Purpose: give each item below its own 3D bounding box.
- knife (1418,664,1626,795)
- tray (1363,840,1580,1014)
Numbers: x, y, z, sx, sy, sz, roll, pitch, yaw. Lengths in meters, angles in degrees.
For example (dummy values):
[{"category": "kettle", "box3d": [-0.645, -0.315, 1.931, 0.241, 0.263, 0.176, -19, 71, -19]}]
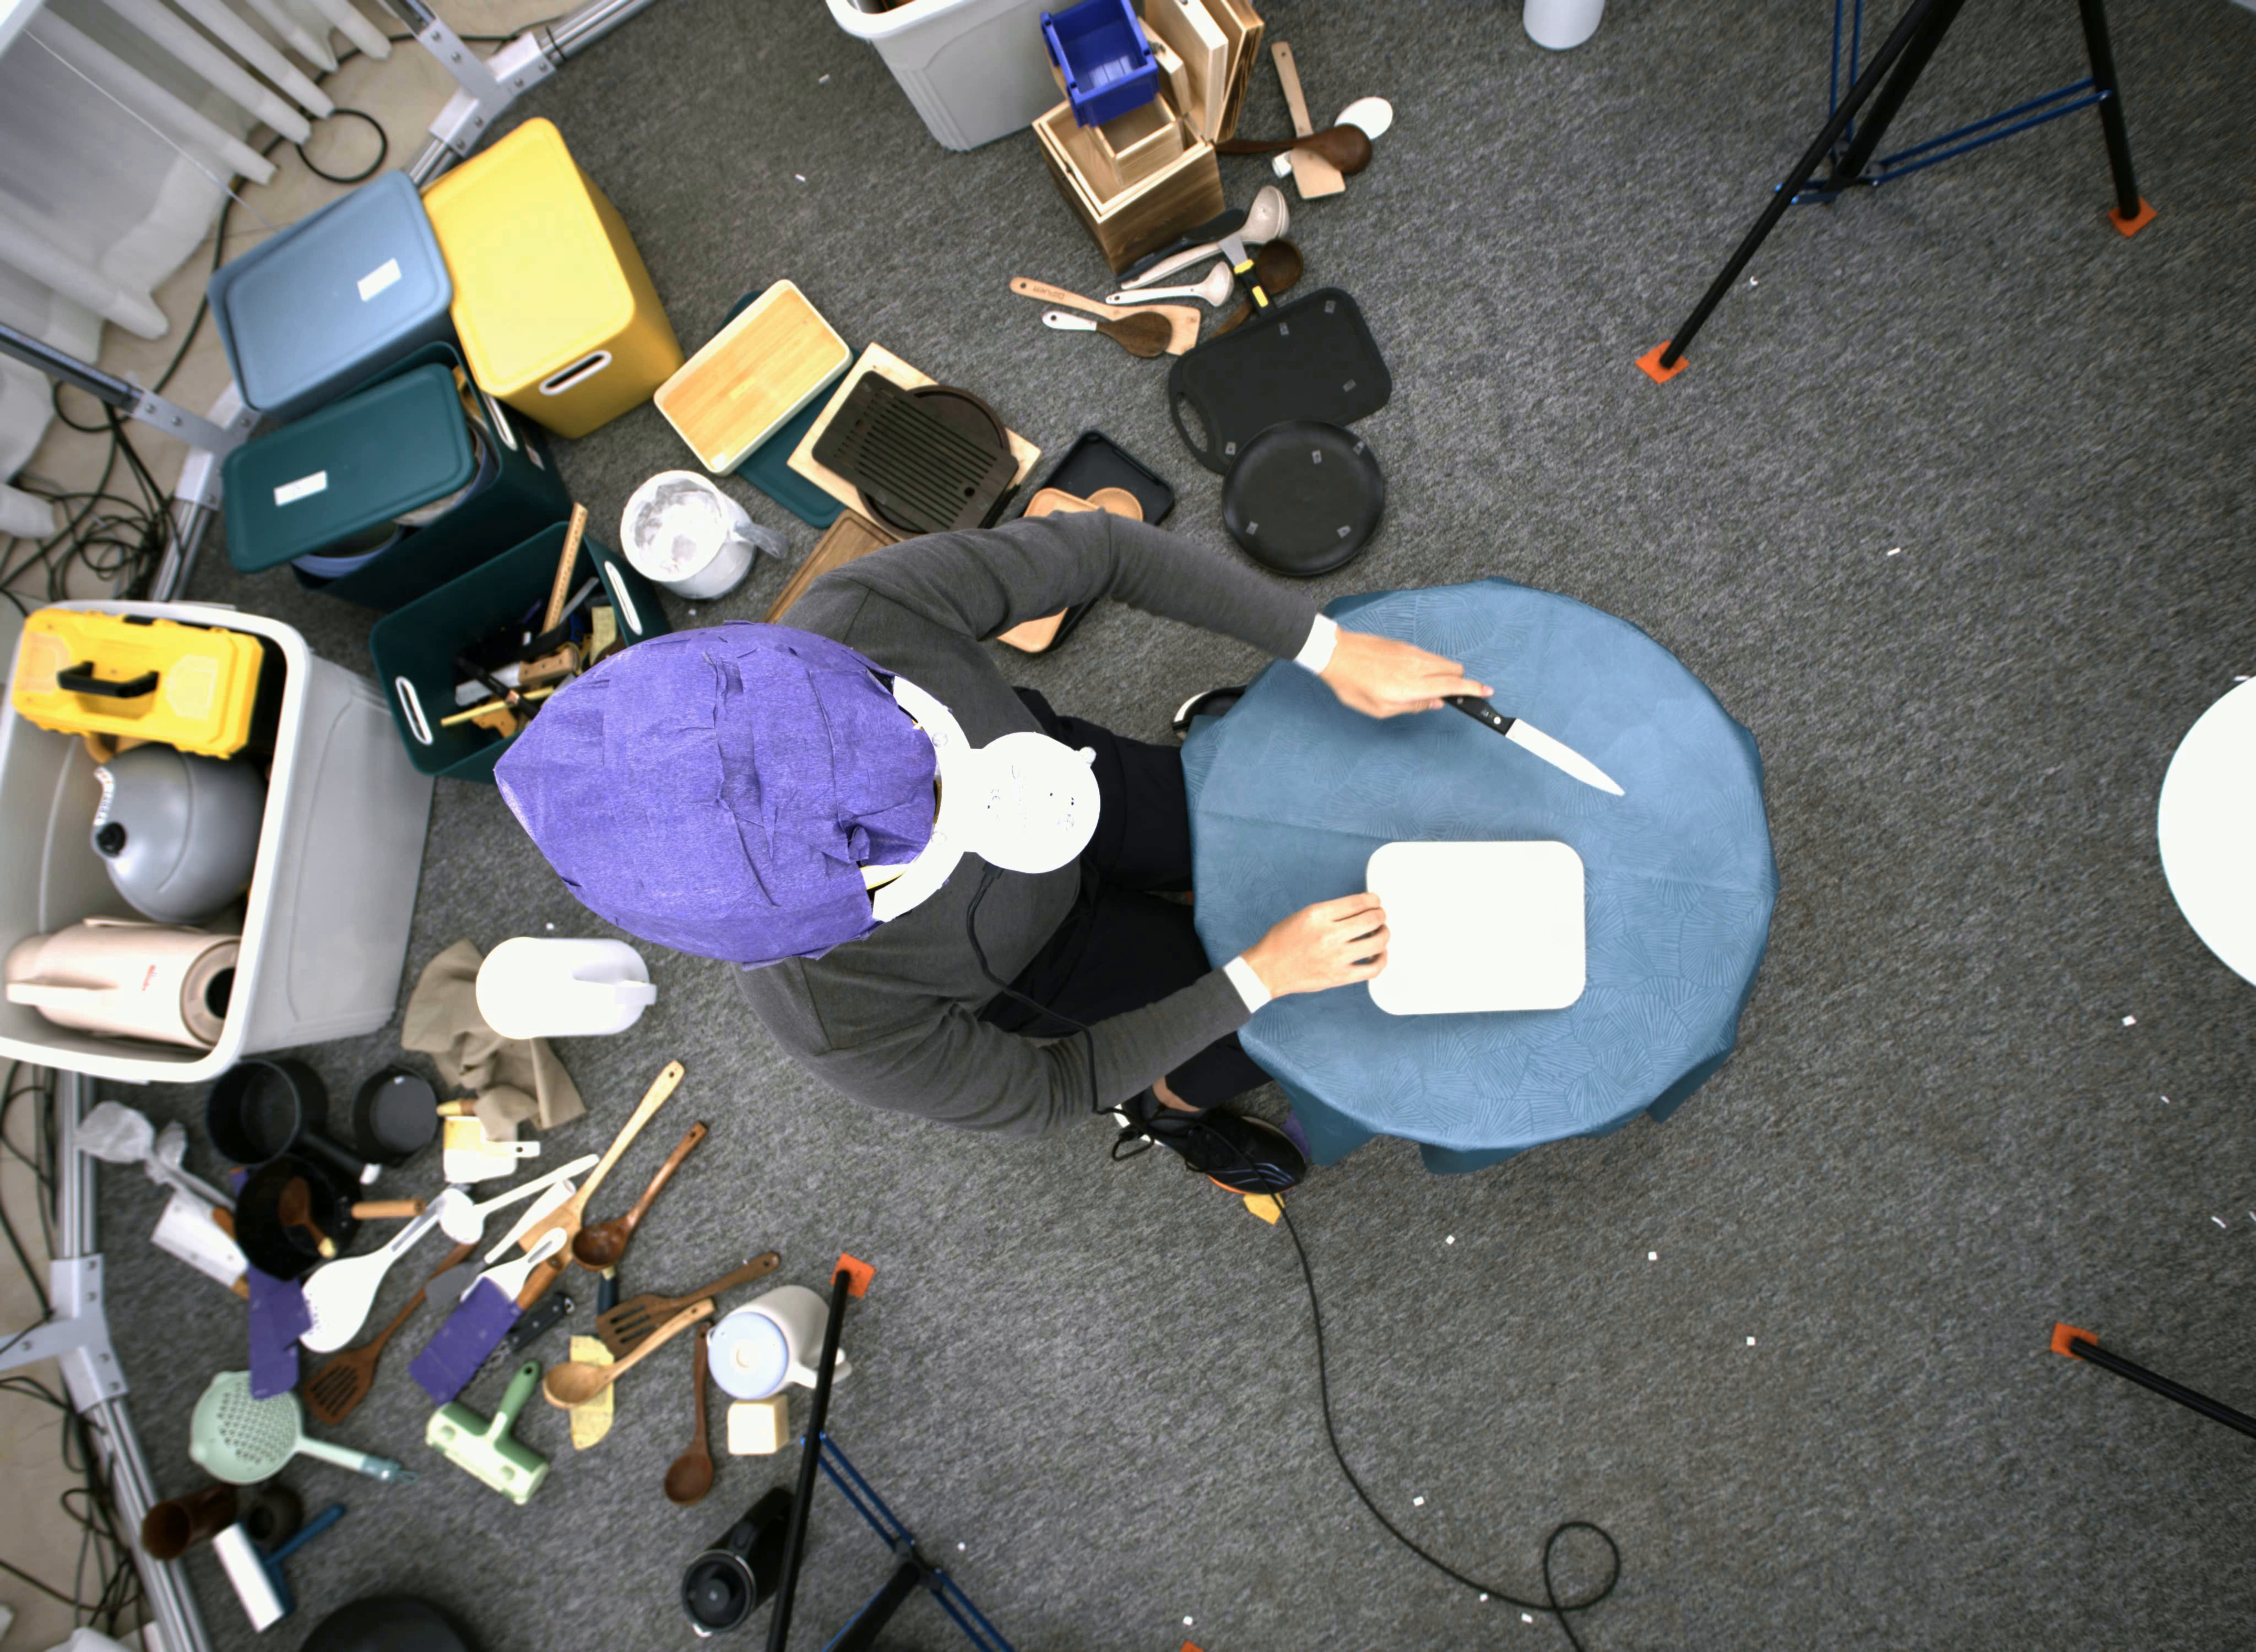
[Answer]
[{"category": "knife", "box3d": [0.380, -0.095, 1.337, 0.236, 0.016, 0.024, 36, 92, 23]}, {"category": "tray", "box3d": [0.346, 0.098, 1.387, 0.239, 0.017, 0.171, -1, 92, -14]}]
